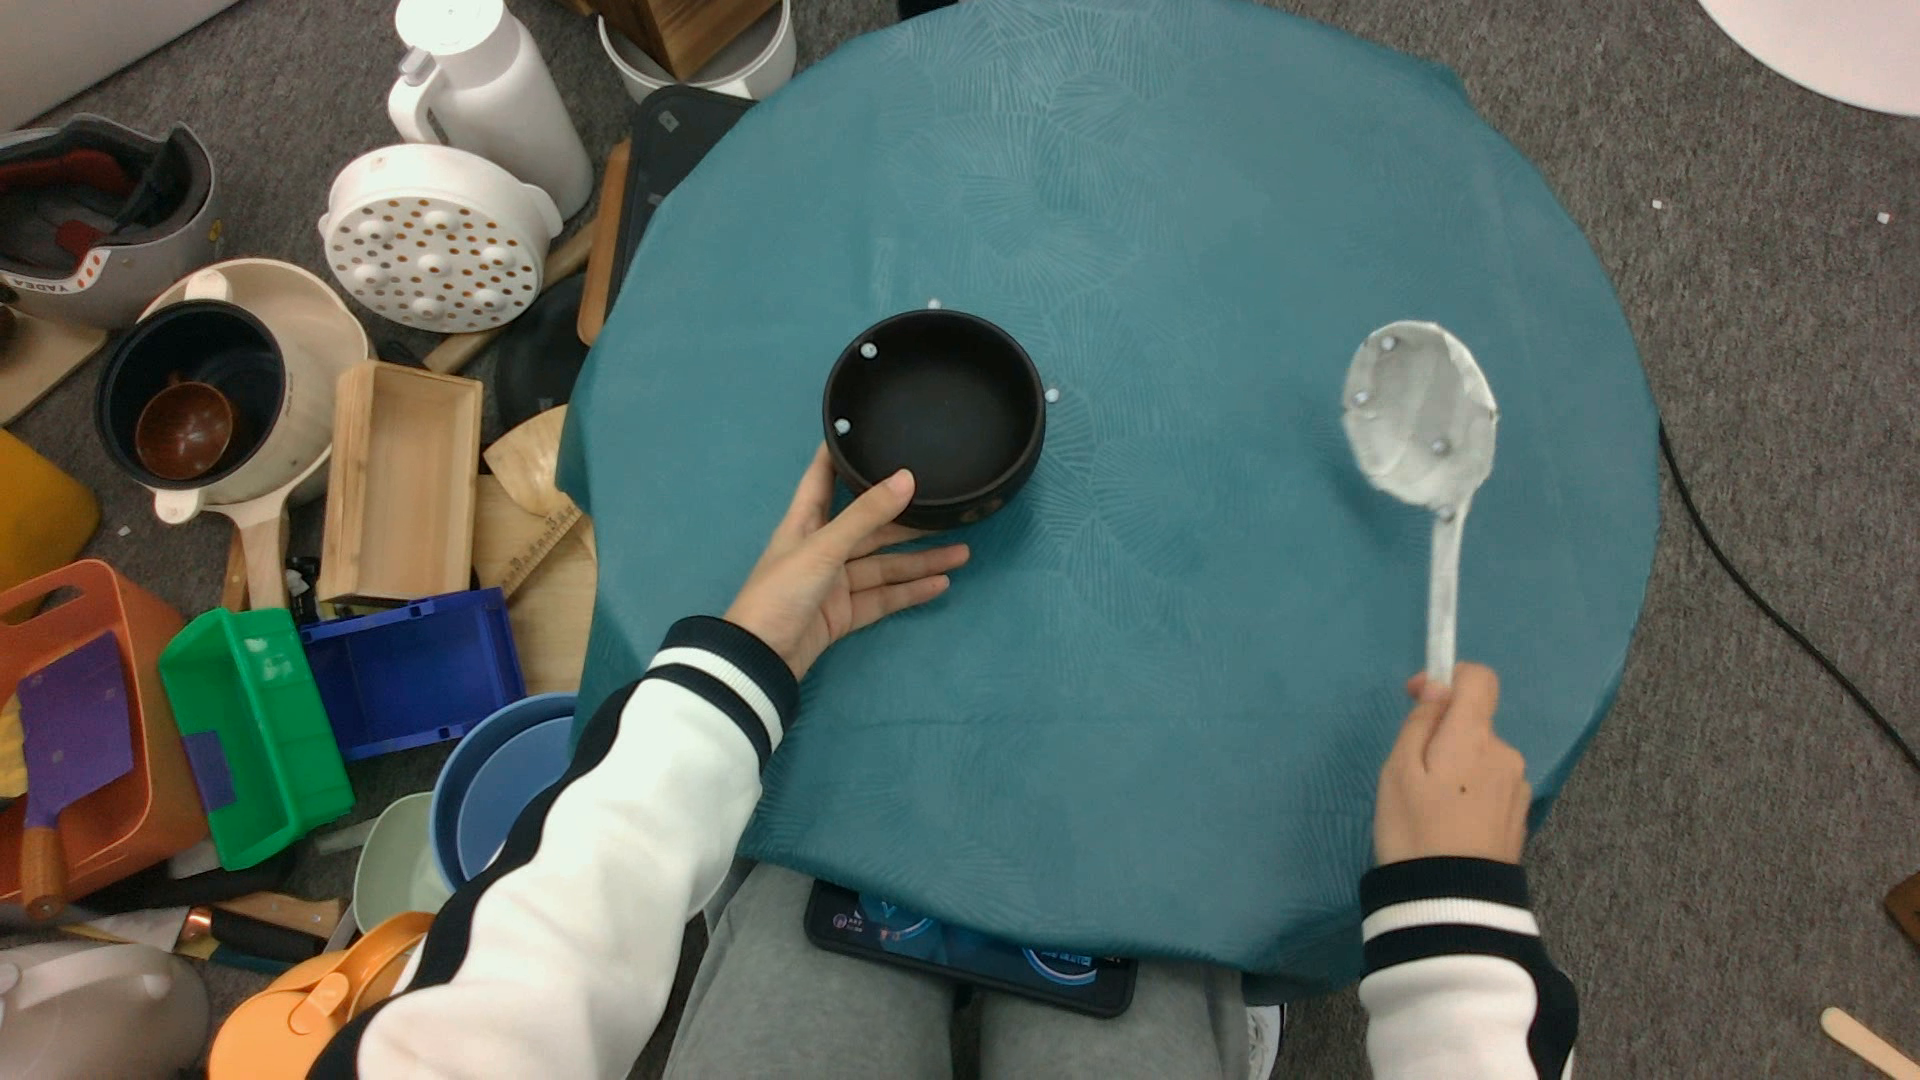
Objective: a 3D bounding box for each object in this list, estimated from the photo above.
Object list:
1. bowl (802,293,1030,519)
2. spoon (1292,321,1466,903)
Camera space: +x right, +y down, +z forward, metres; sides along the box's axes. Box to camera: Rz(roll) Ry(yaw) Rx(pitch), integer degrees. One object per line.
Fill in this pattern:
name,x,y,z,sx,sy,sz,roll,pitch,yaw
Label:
bowl,-0.022,-0.065,0.733,0.118,0.069,0.118,0,70,1
spoon,0.195,0.030,0.668,0.059,0.100,0.278,19,70,-27
